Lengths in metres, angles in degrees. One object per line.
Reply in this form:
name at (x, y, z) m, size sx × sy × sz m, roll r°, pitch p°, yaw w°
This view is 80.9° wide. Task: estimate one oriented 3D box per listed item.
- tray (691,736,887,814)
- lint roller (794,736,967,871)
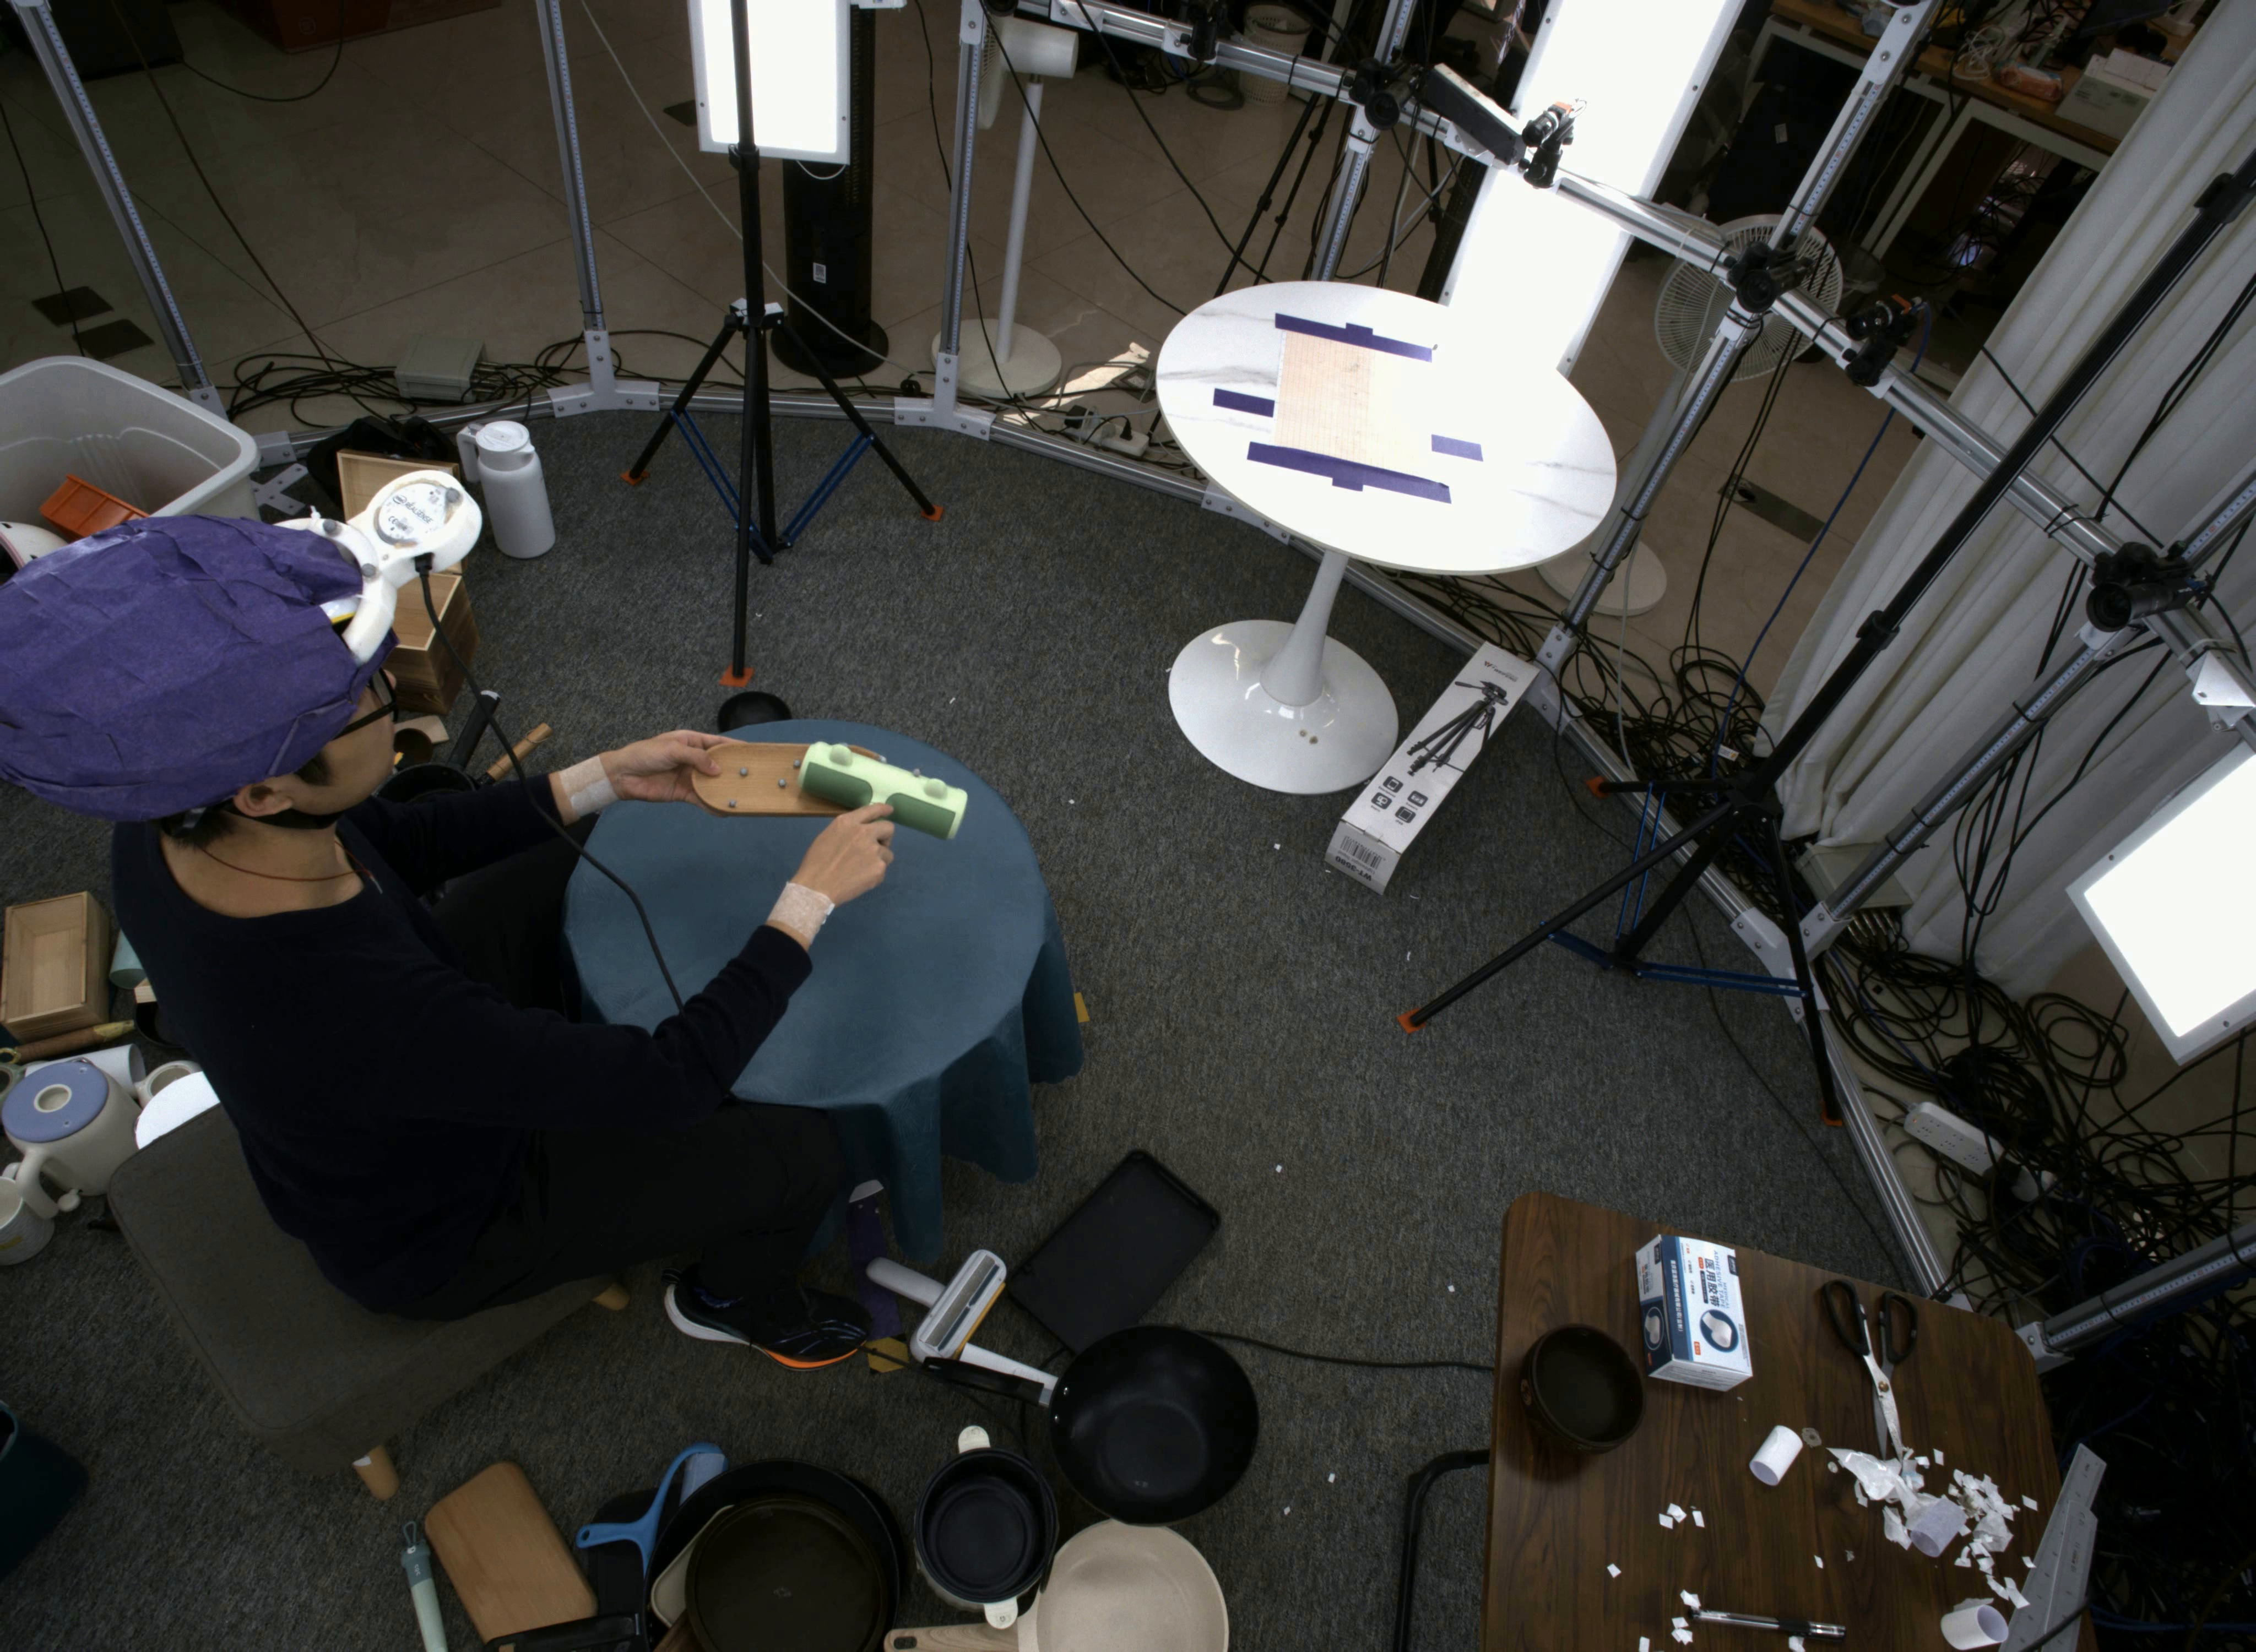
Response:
tray at (-0.394, -0.060, 1.523) m, size 0.233 × 0.020 × 0.100 m, roll 0°, pitch 61°, yaw -24°
lint roller at (-0.288, -0.028, 1.469) m, size 0.199 × 0.083 × 0.179 m, roll 19°, pitch 30°, yaw -10°
